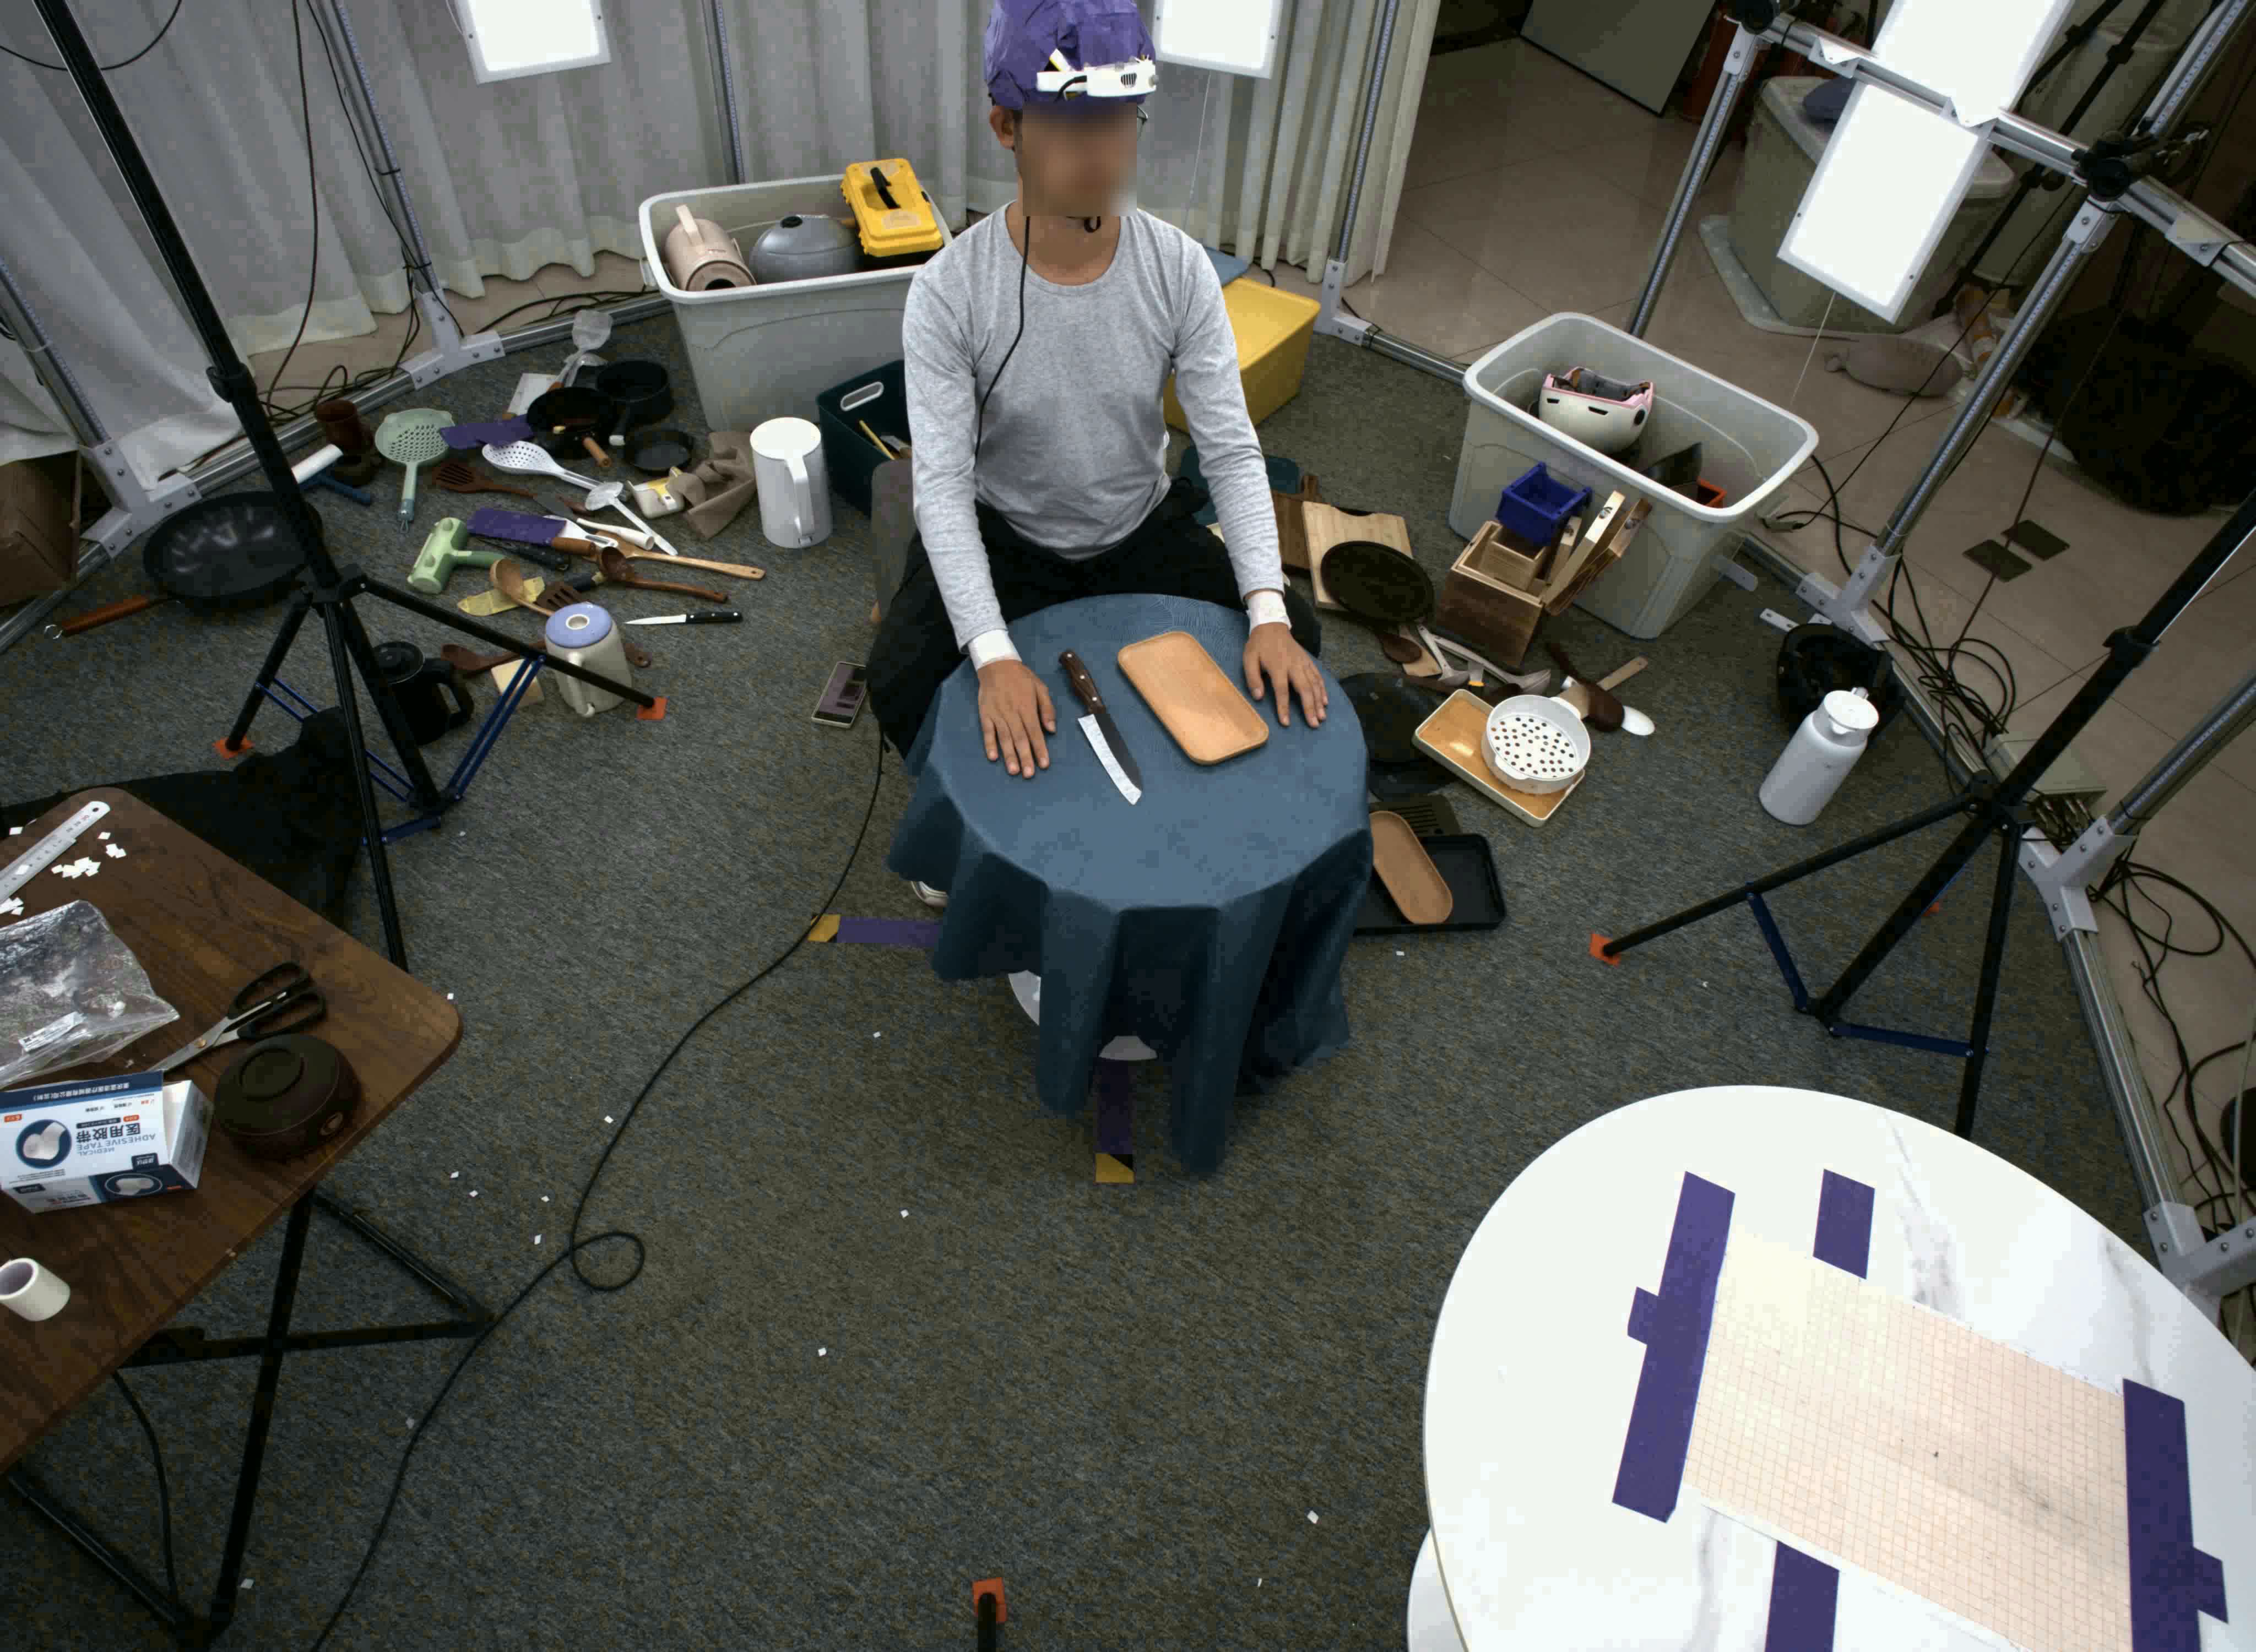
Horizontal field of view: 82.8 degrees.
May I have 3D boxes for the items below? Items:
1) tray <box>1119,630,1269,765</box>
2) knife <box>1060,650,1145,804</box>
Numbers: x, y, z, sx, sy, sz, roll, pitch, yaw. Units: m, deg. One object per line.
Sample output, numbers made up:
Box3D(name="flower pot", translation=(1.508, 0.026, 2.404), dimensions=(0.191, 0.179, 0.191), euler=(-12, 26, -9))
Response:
Box3D(name="tray", translation=(0.091, -0.186, 1.824), dimensions=(0.131, 0.022, 0.256), euler=(-18, 52, -21))
Box3D(name="knife", translation=(-0.038, -0.139, 1.776), dimensions=(0.050, 0.019, 0.296), euler=(-17, 54, -11))
